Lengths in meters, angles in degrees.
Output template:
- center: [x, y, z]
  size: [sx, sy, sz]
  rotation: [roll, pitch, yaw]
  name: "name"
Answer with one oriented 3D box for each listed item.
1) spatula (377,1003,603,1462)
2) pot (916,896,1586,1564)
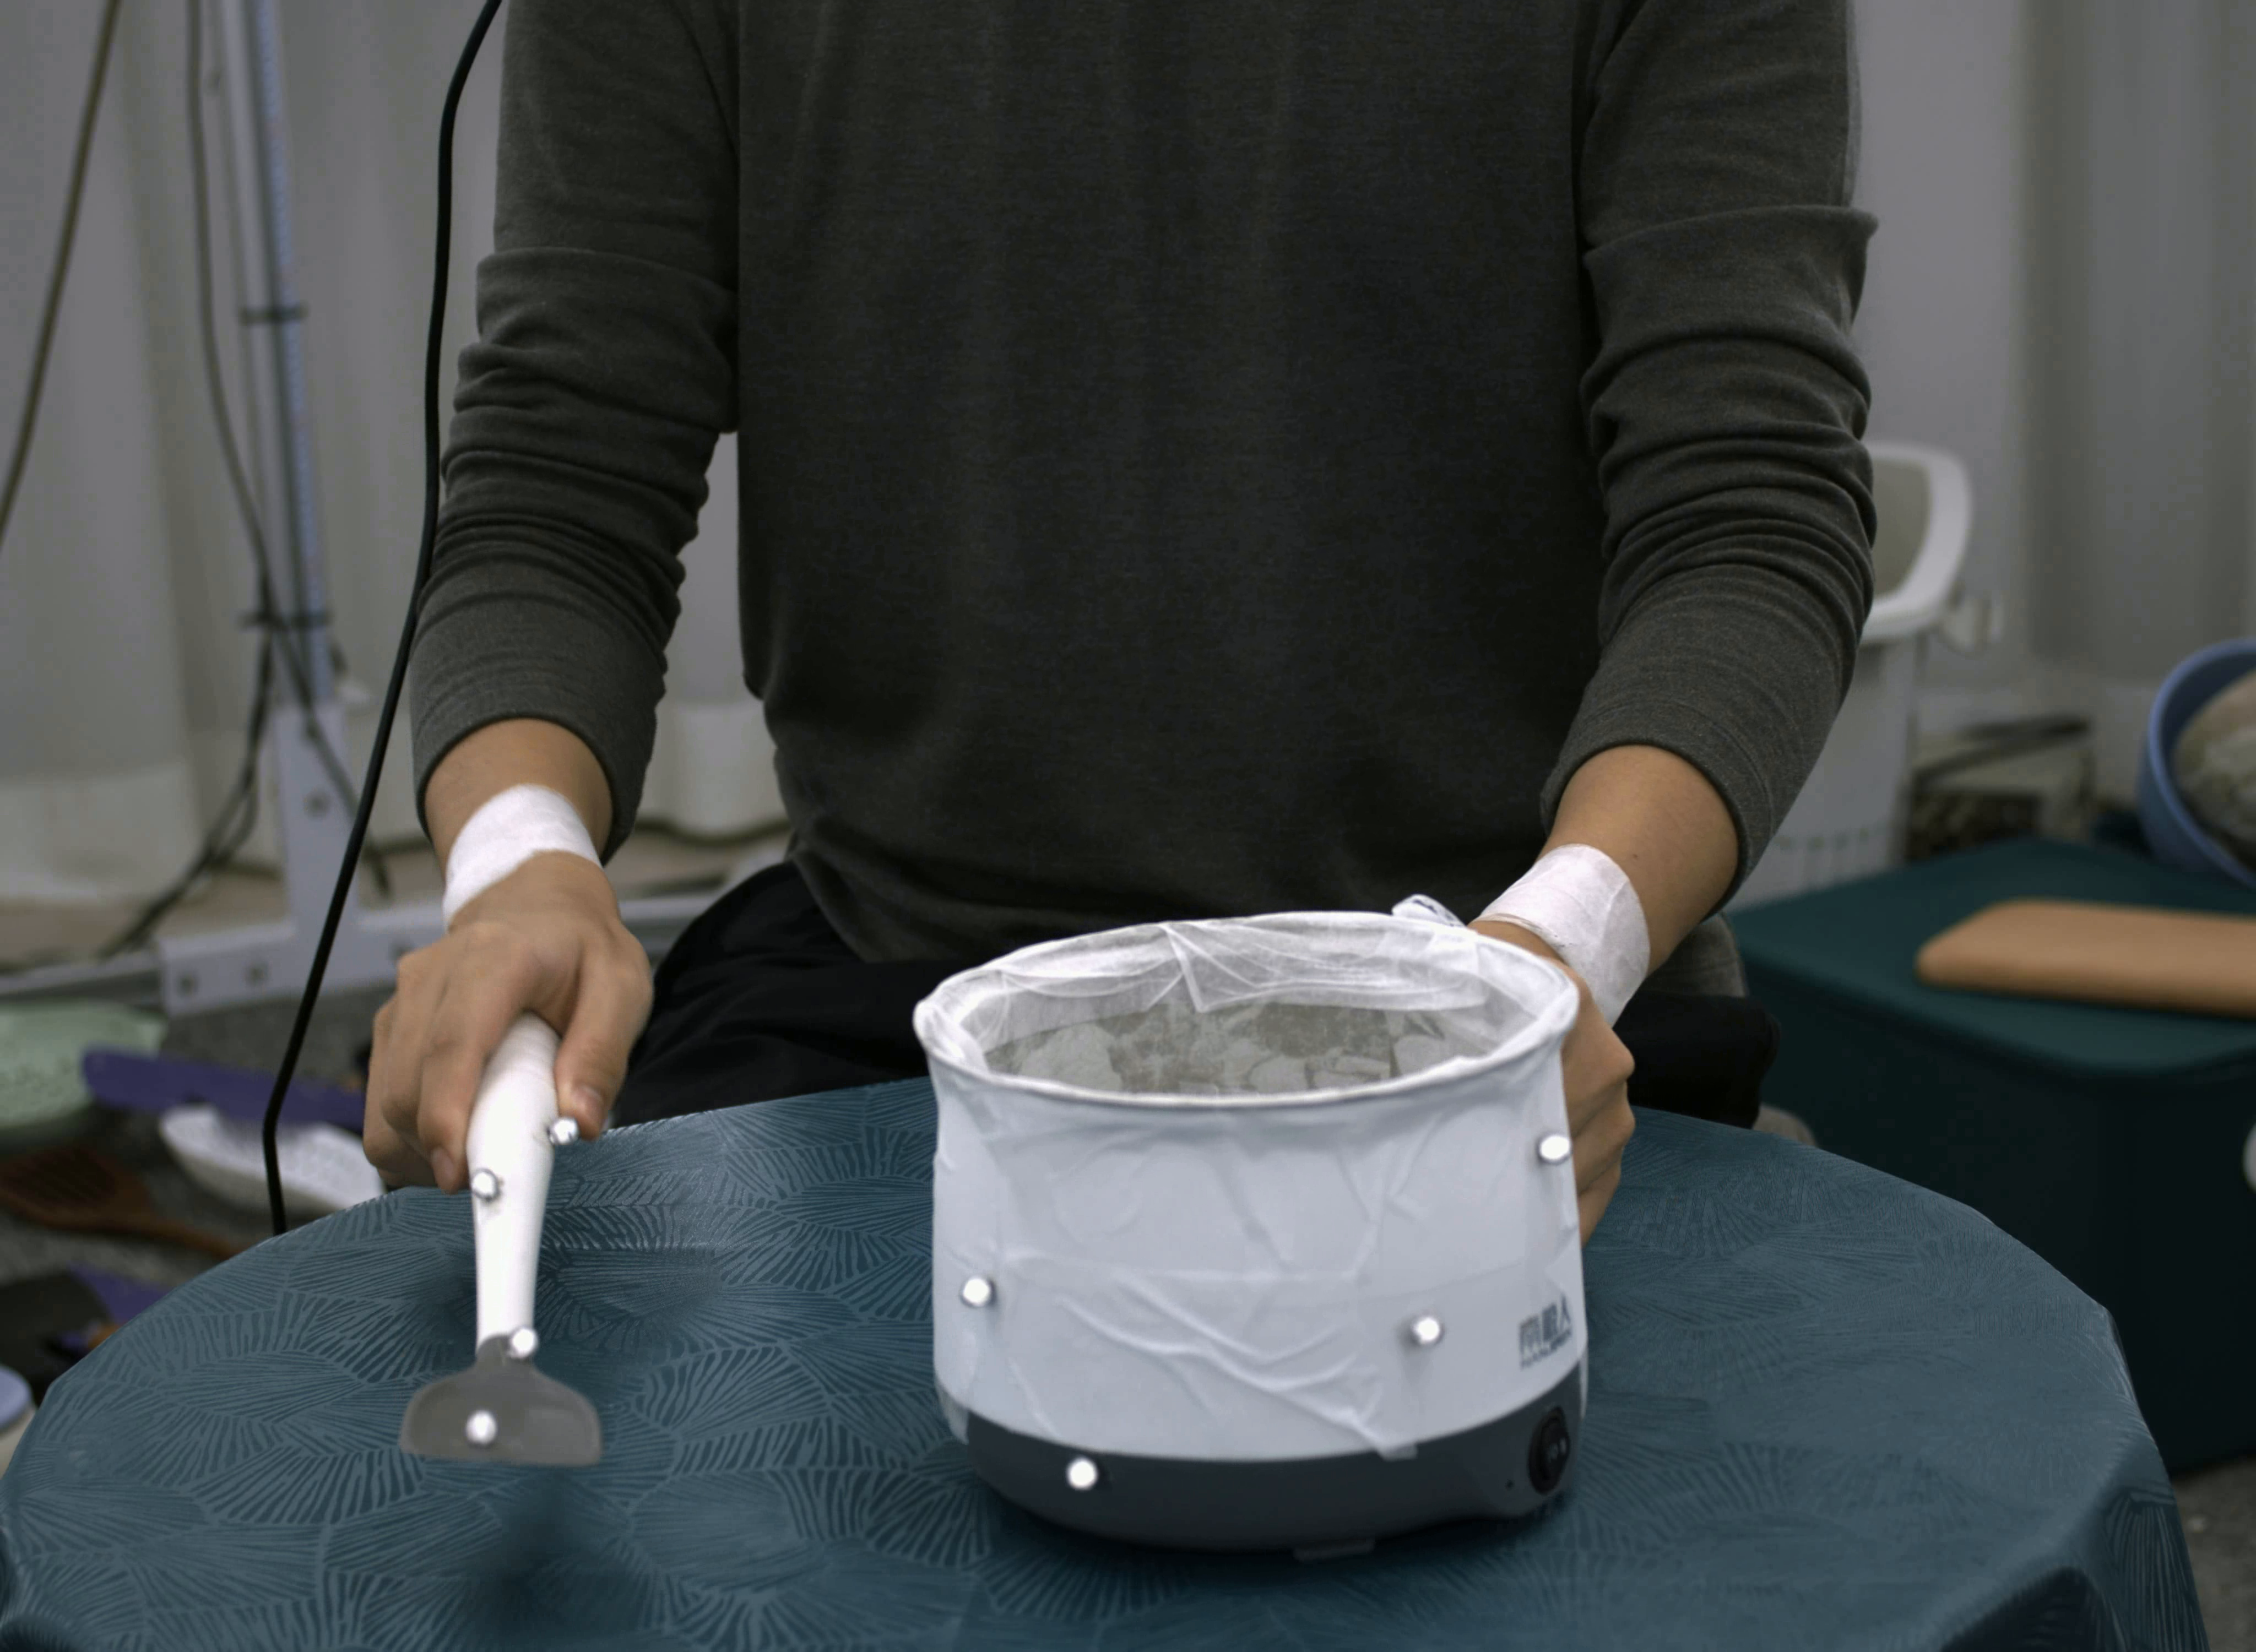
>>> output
- center: [-0.174, 0.118, 1.517]
  size: [0.058, 0.032, 0.290]
  rotation: [8, 19, -8]
  name: "spatula"
- center: [0.048, 0.102, 1.490]
  size: [0.179, 0.136, 0.234]
  rotation: [6, 16, 30]
  name: "pot"
